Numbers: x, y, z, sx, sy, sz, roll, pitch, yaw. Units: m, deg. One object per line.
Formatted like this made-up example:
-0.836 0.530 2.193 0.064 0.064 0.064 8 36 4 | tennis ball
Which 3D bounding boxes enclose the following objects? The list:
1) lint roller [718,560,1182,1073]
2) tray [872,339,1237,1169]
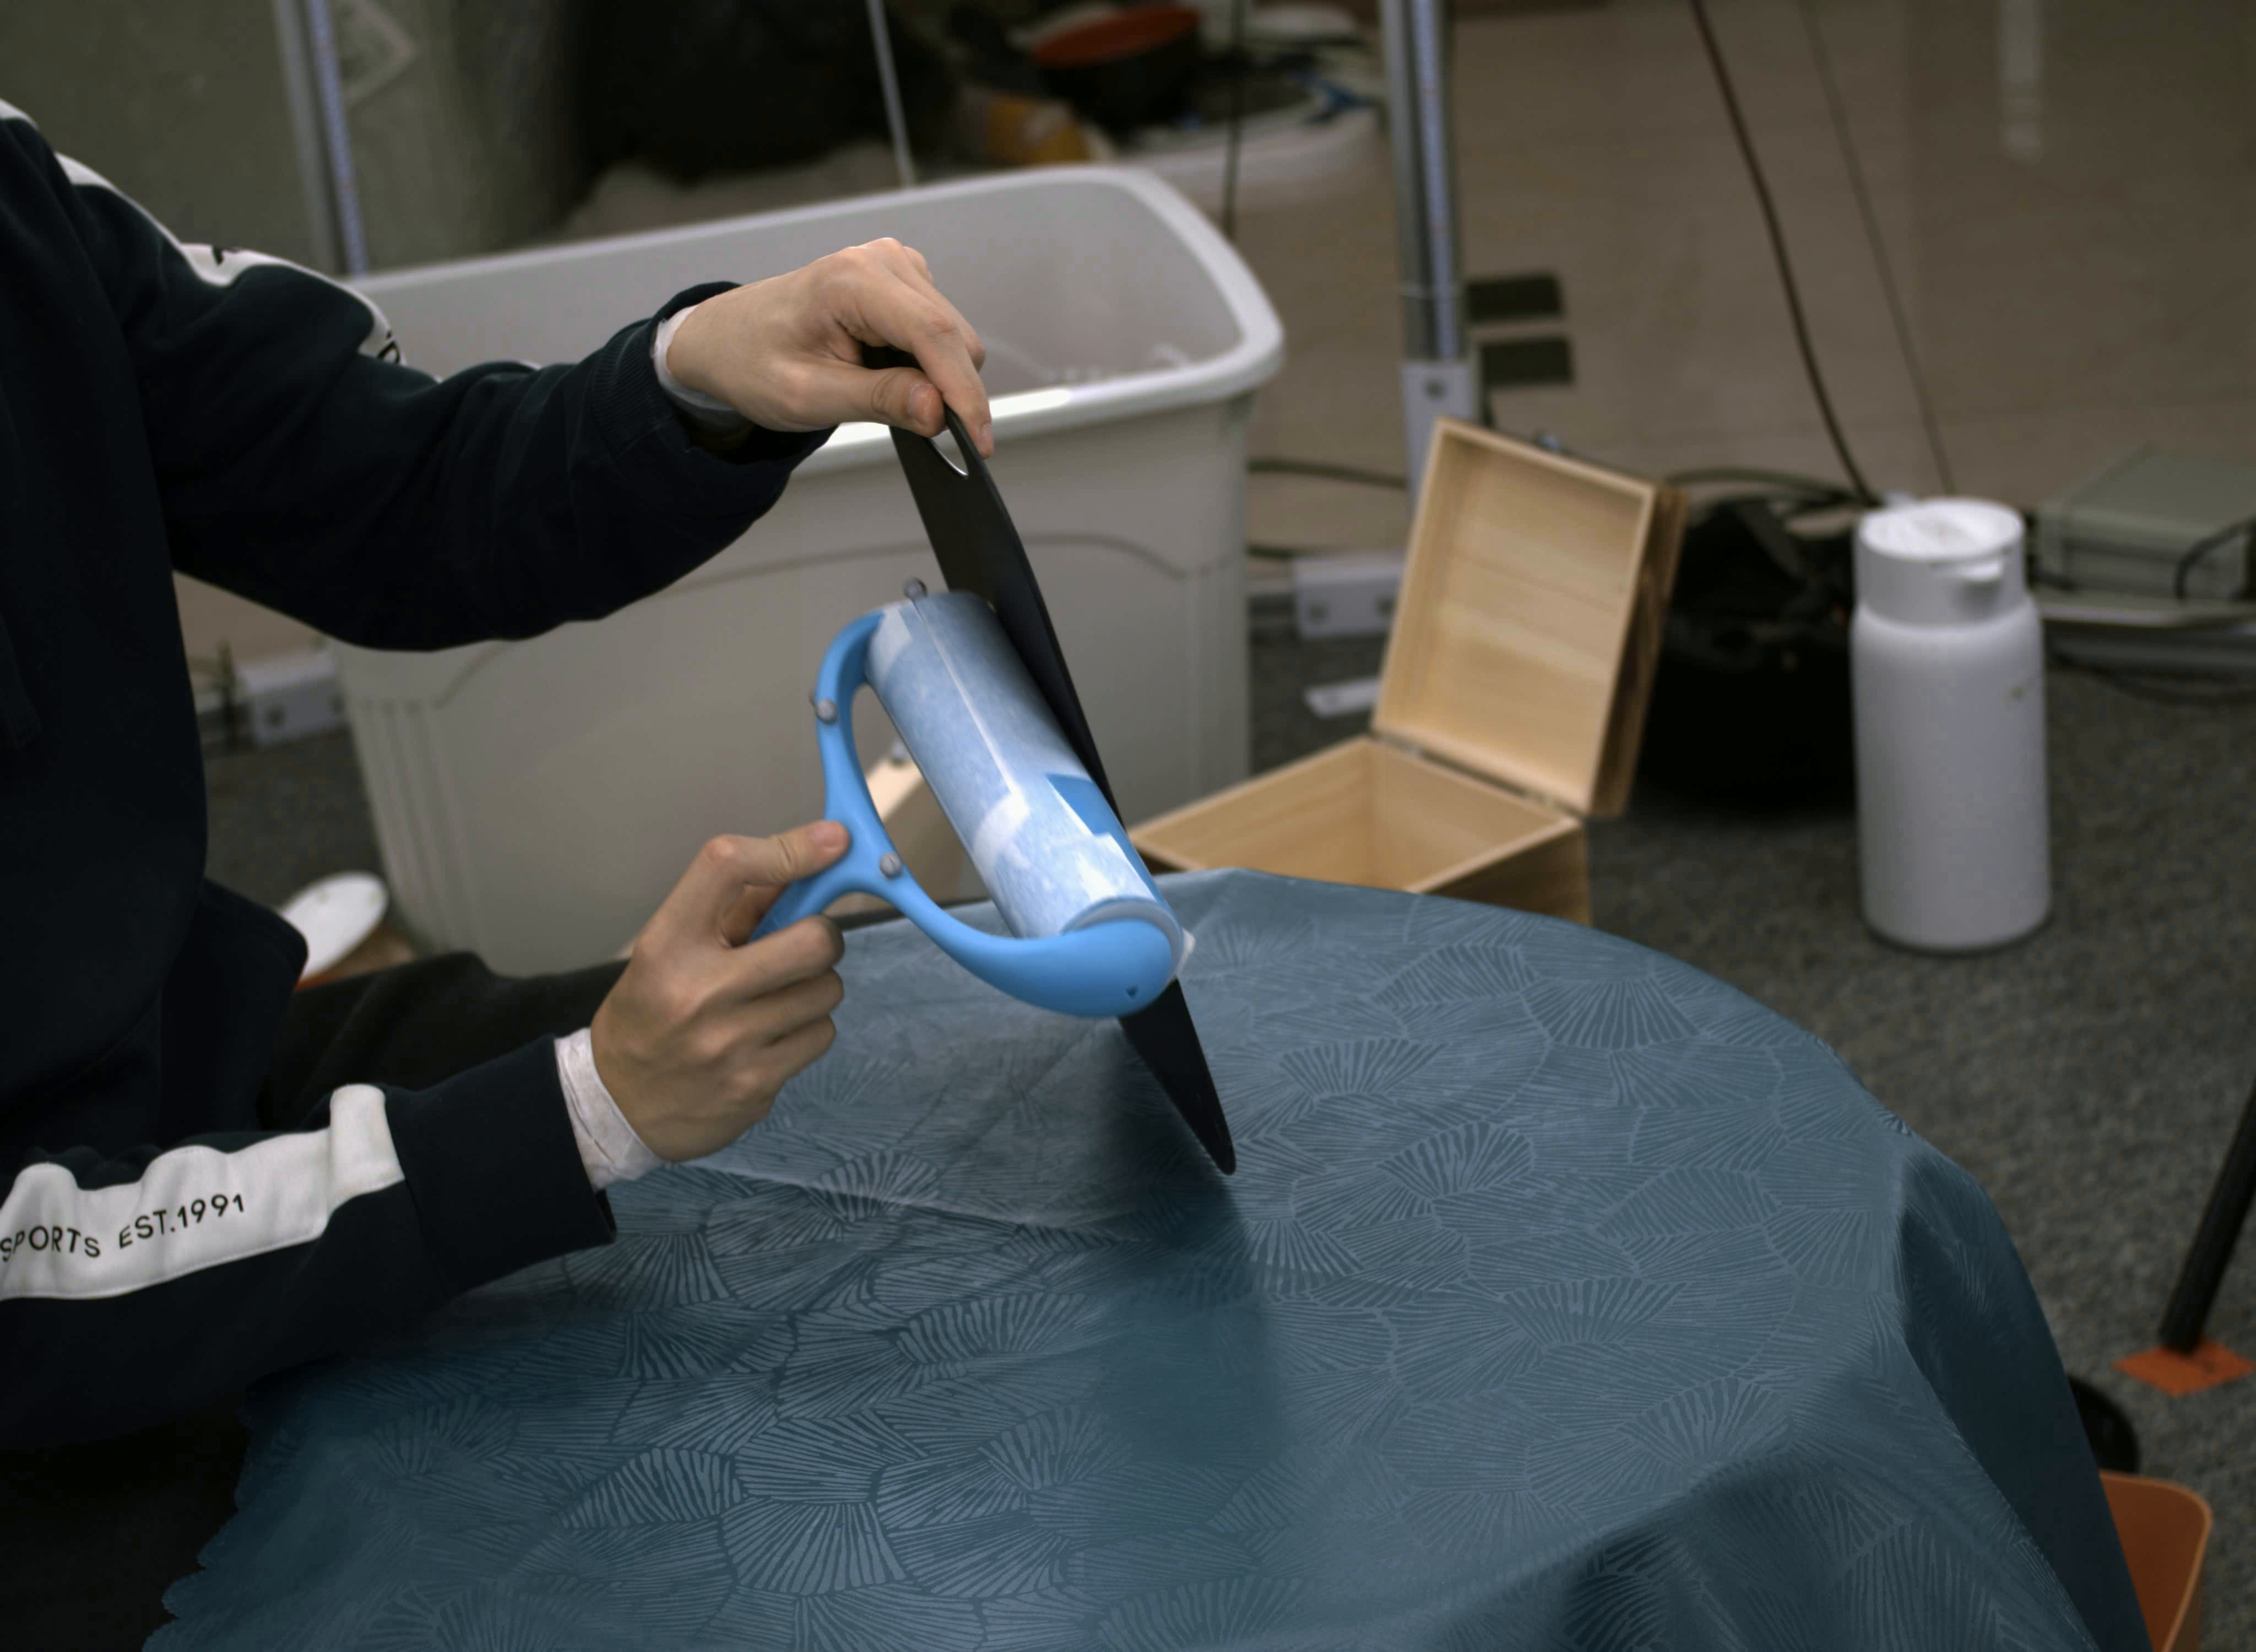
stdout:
-0.088 0.018 2.033 0.180 0.069 0.225 -40 48 6 | lint roller
-0.030 -0.032 2.128 0.010 0.330 0.208 -23 25 -7 | tray
